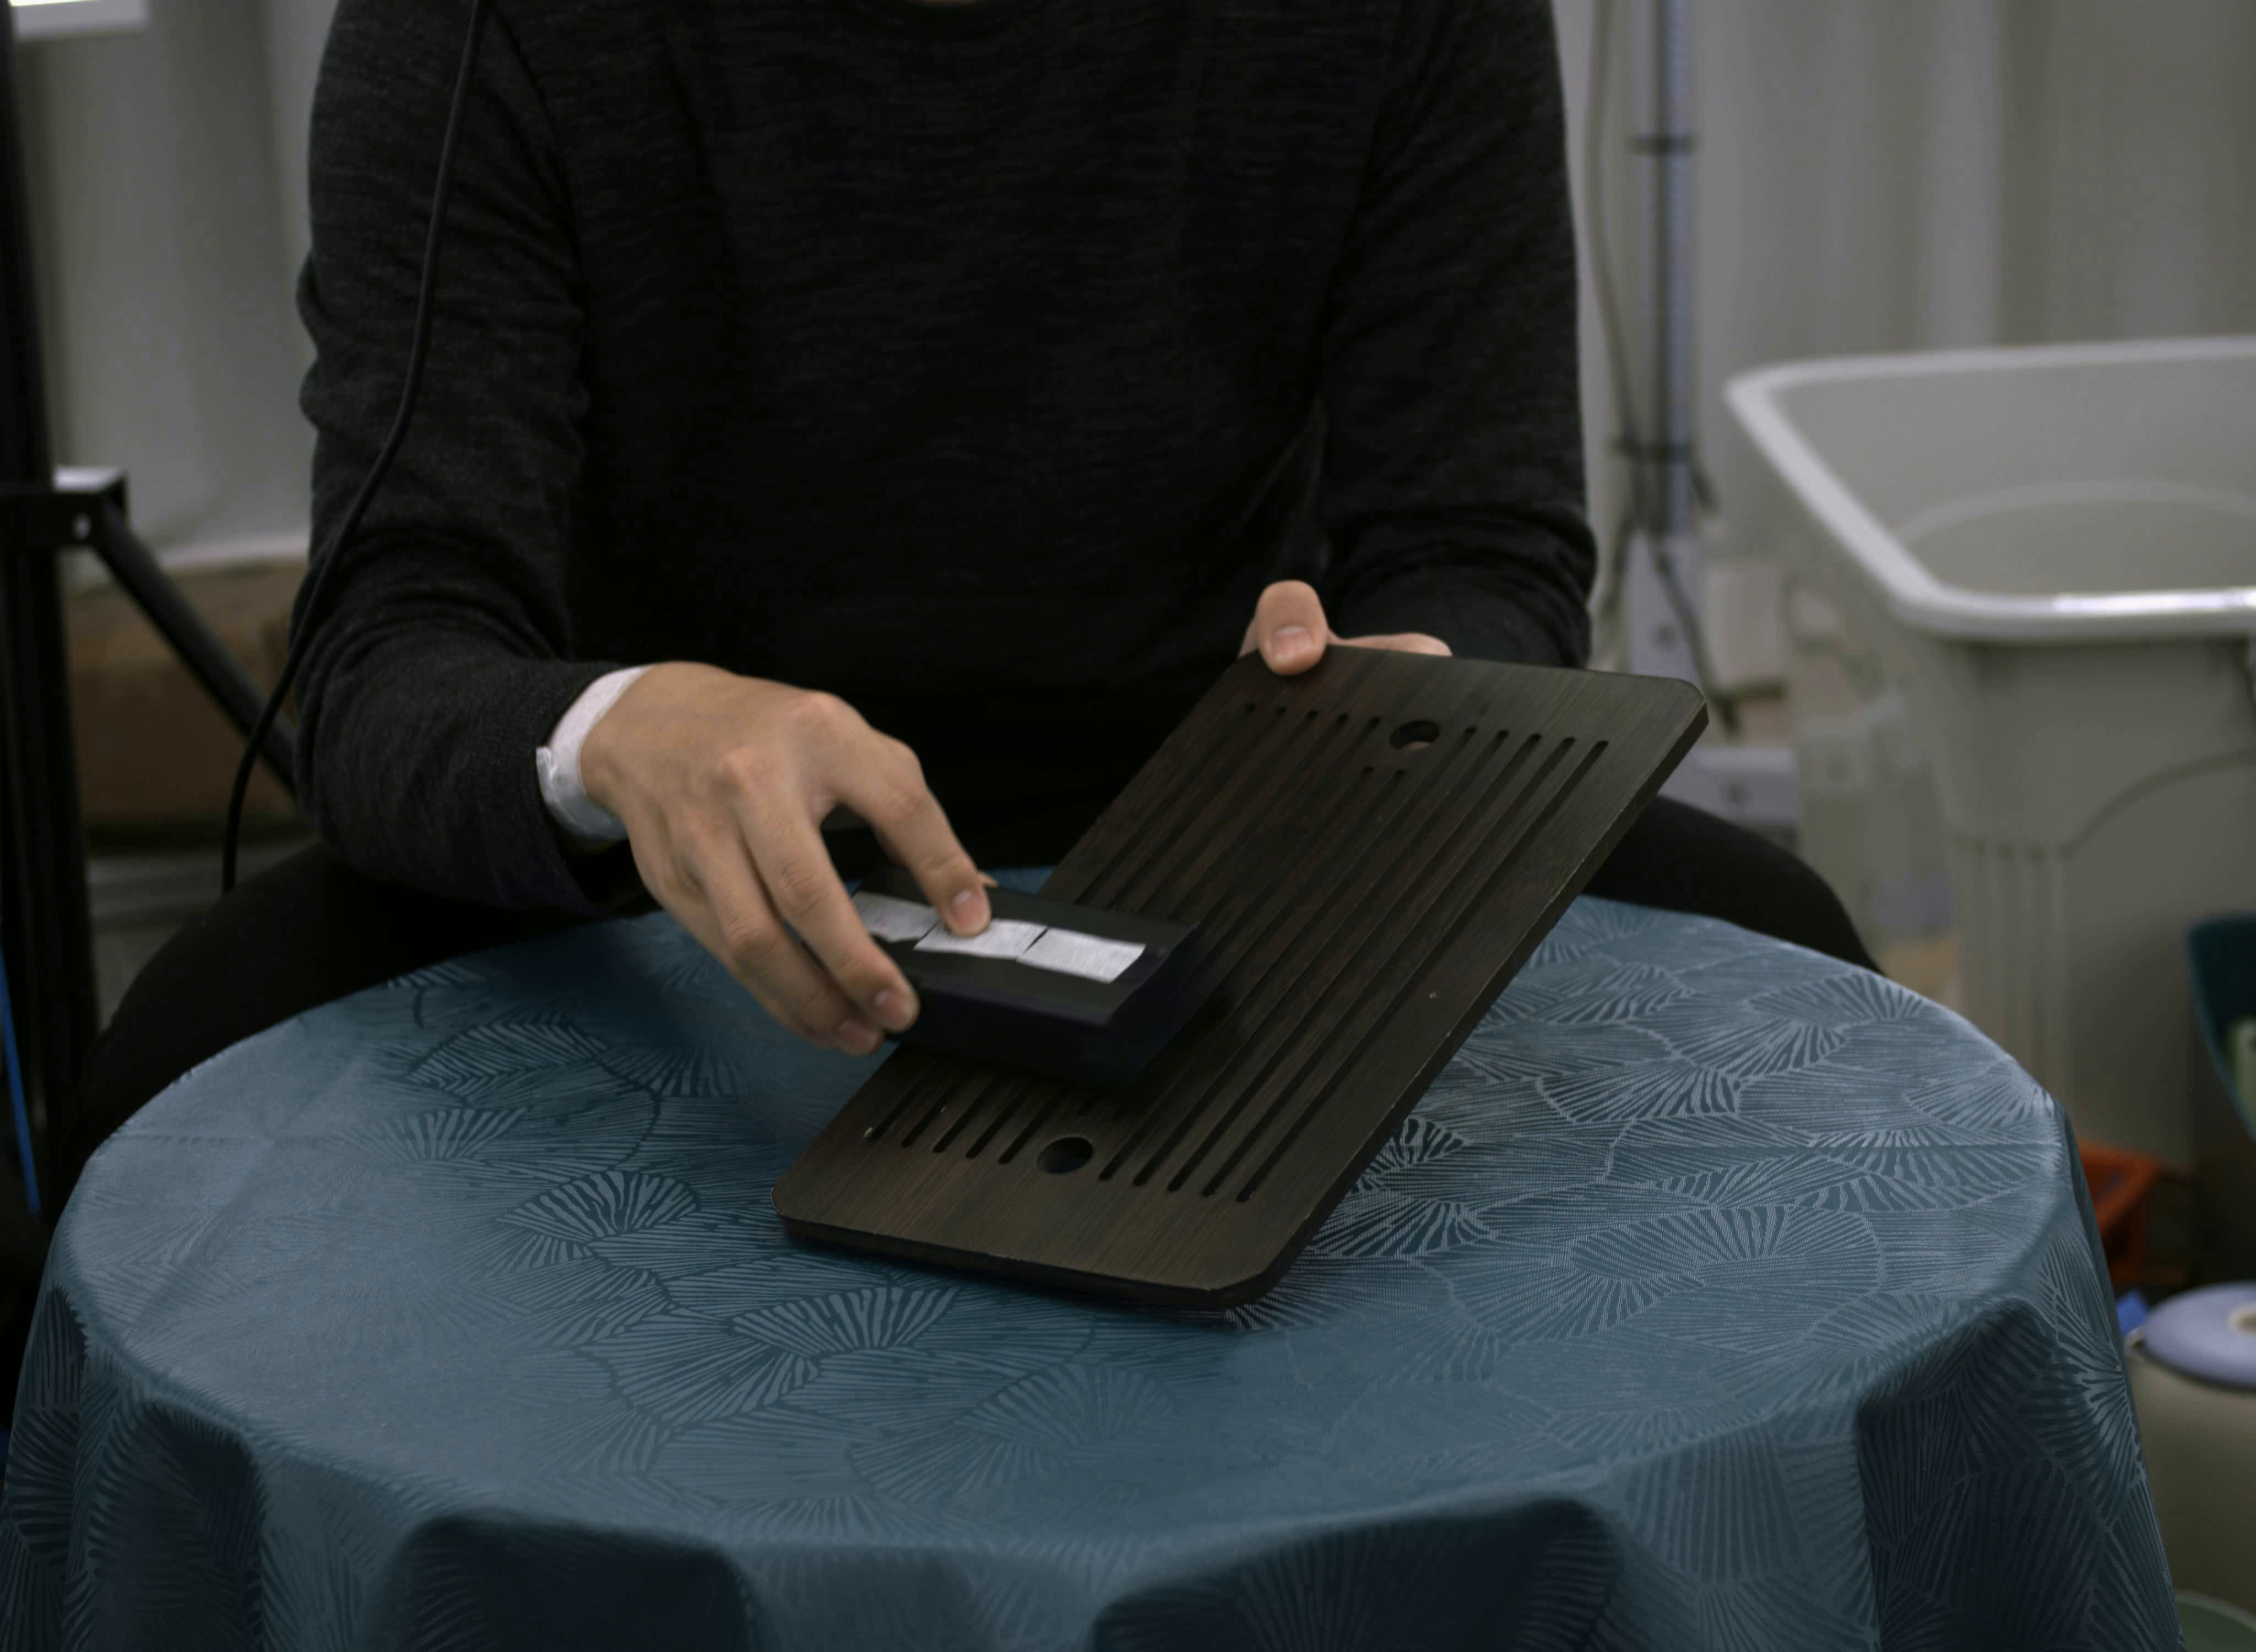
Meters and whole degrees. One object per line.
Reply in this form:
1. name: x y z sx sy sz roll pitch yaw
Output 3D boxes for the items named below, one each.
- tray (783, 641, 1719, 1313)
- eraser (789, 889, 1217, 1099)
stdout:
1. tray: 0.042 0.040 1.581 0.173 0.018 0.303 6 38 34
2. eraser: -0.036 0.048 1.568 0.128 0.030 0.053 8 37 39
